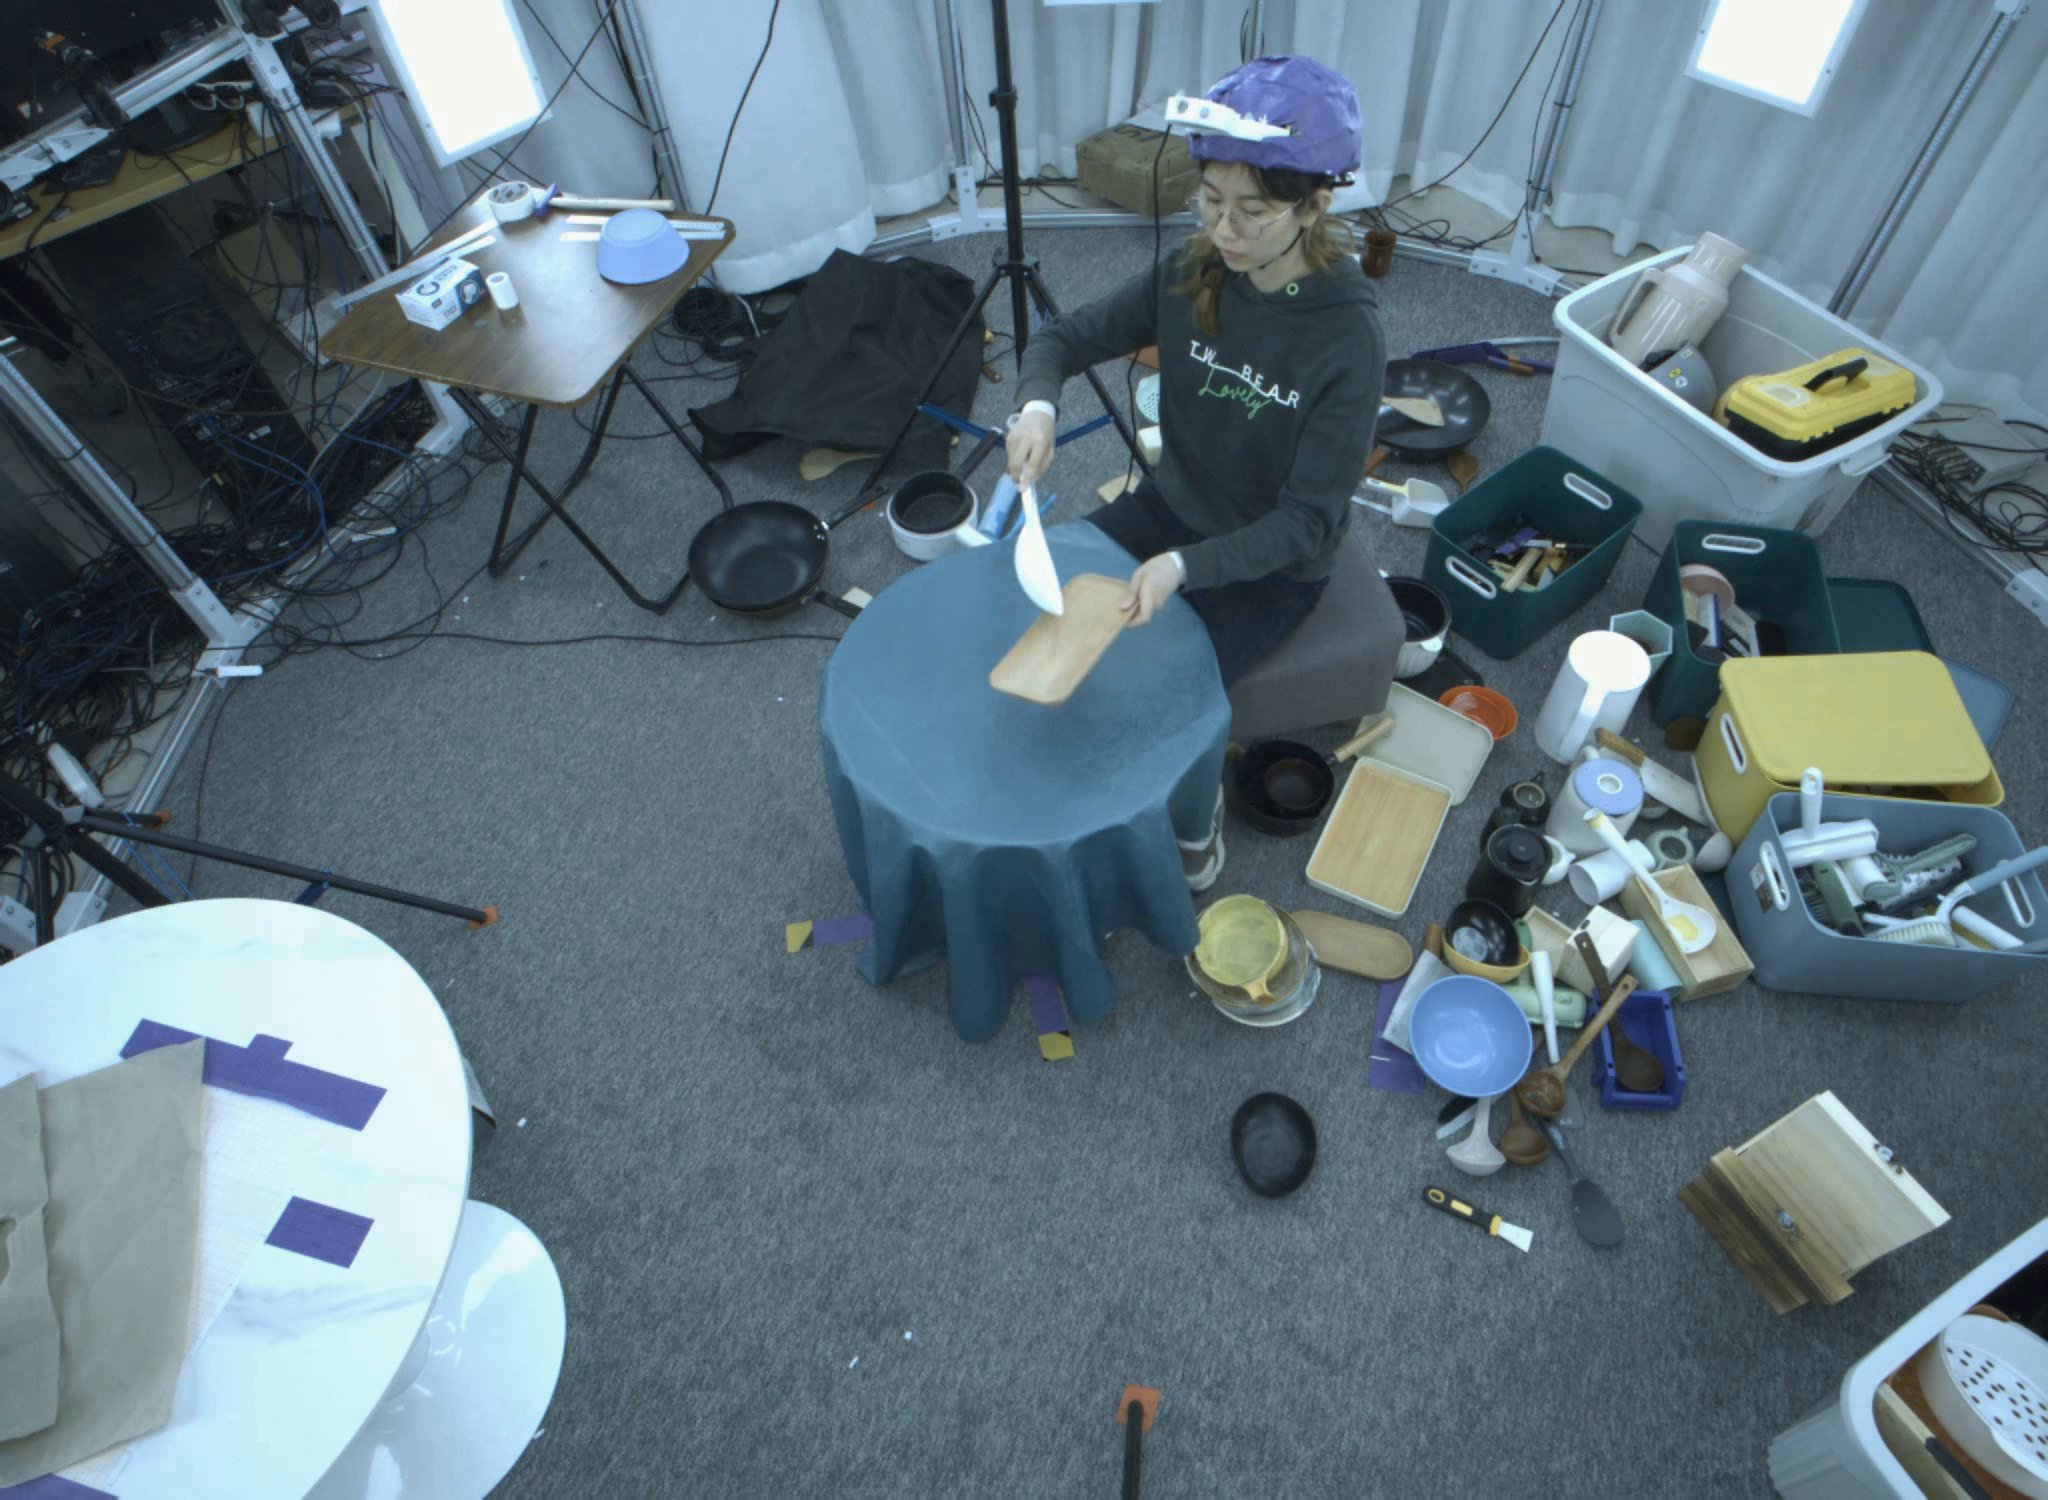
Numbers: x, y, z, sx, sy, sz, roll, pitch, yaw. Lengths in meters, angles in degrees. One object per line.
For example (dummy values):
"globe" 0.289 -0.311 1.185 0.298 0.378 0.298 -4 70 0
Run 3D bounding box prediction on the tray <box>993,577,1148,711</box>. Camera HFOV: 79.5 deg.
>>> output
"tray" 0.067 -0.151 1.724 0.128 0.023 0.252 22 57 29

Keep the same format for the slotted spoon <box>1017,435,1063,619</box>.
"slotted spoon" 0.014 -0.332 1.754 0.045 0.138 0.346 -11 56 14
